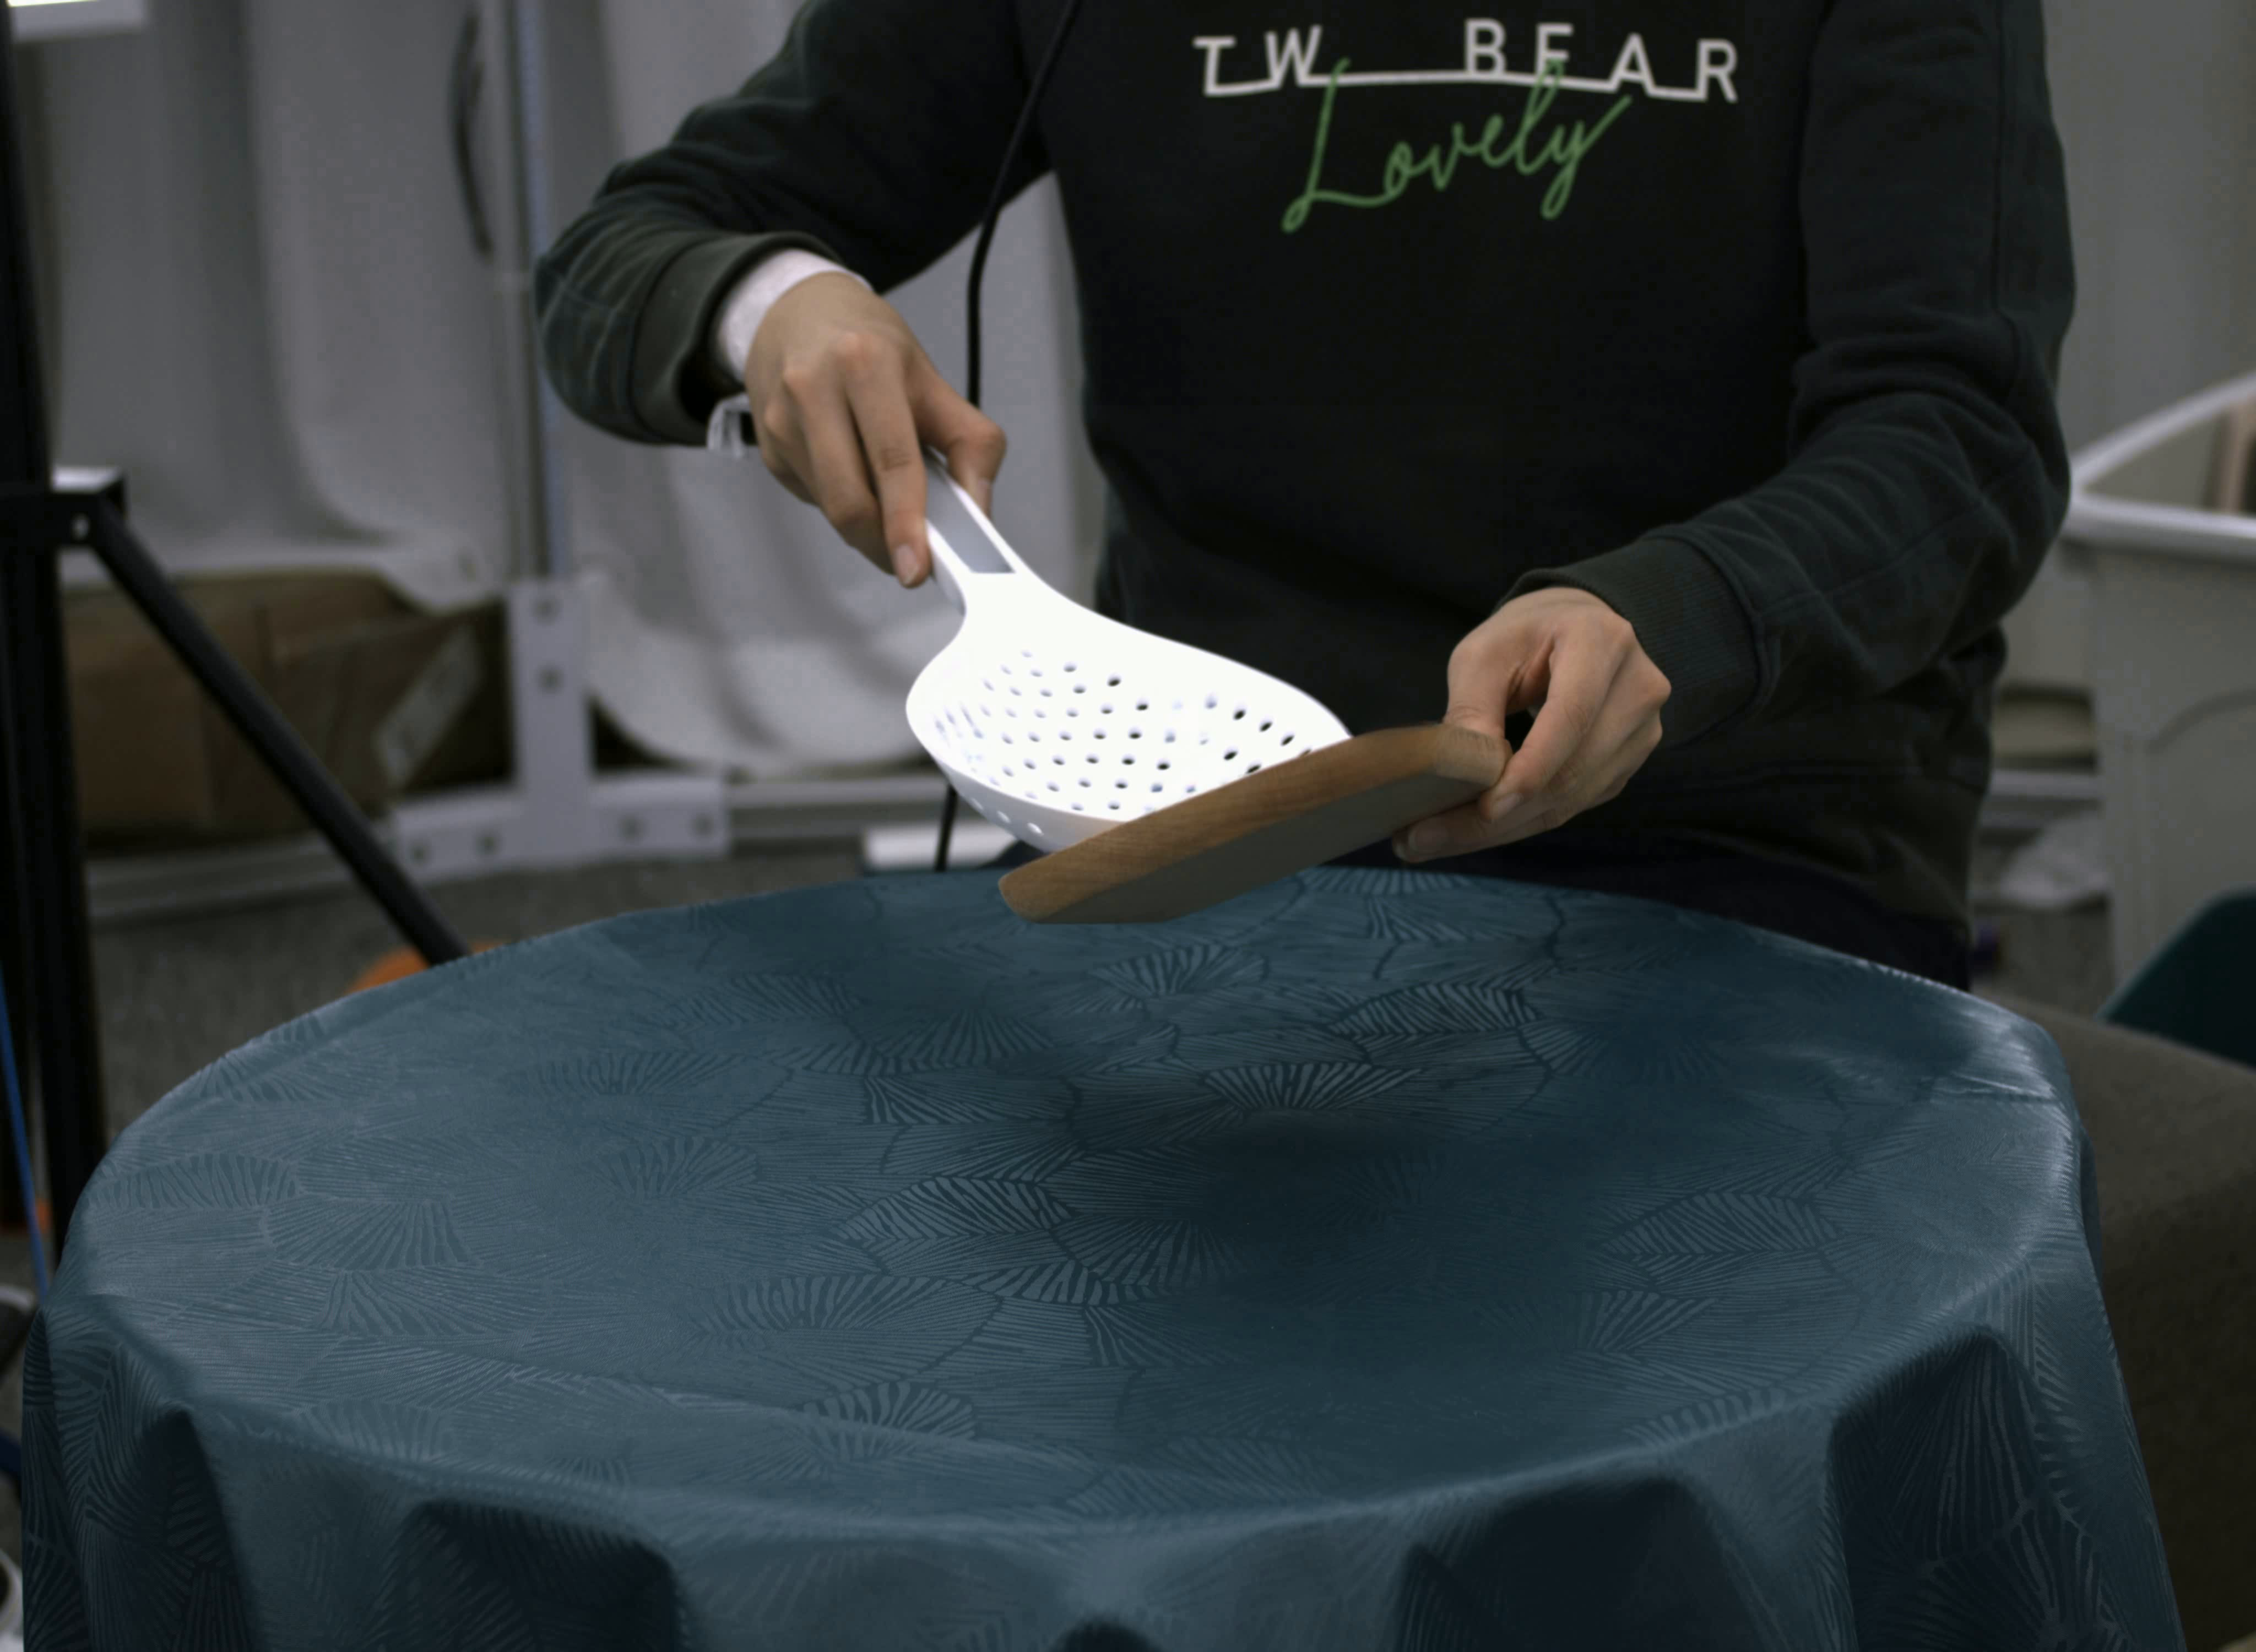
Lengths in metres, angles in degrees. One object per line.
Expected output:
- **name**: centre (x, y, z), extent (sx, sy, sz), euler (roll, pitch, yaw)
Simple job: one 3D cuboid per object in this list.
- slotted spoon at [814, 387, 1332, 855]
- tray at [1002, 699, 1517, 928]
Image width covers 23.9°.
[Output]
- **slotted spoon**: centre (-0.040, -0.070, 1.706), extent (0.133, 0.046, 0.356), euler (-1, 30, -21)
- **tray**: centre (0.043, 0.000, 1.520), extent (0.131, 0.023, 0.248), euler (-20, -6, 10)
